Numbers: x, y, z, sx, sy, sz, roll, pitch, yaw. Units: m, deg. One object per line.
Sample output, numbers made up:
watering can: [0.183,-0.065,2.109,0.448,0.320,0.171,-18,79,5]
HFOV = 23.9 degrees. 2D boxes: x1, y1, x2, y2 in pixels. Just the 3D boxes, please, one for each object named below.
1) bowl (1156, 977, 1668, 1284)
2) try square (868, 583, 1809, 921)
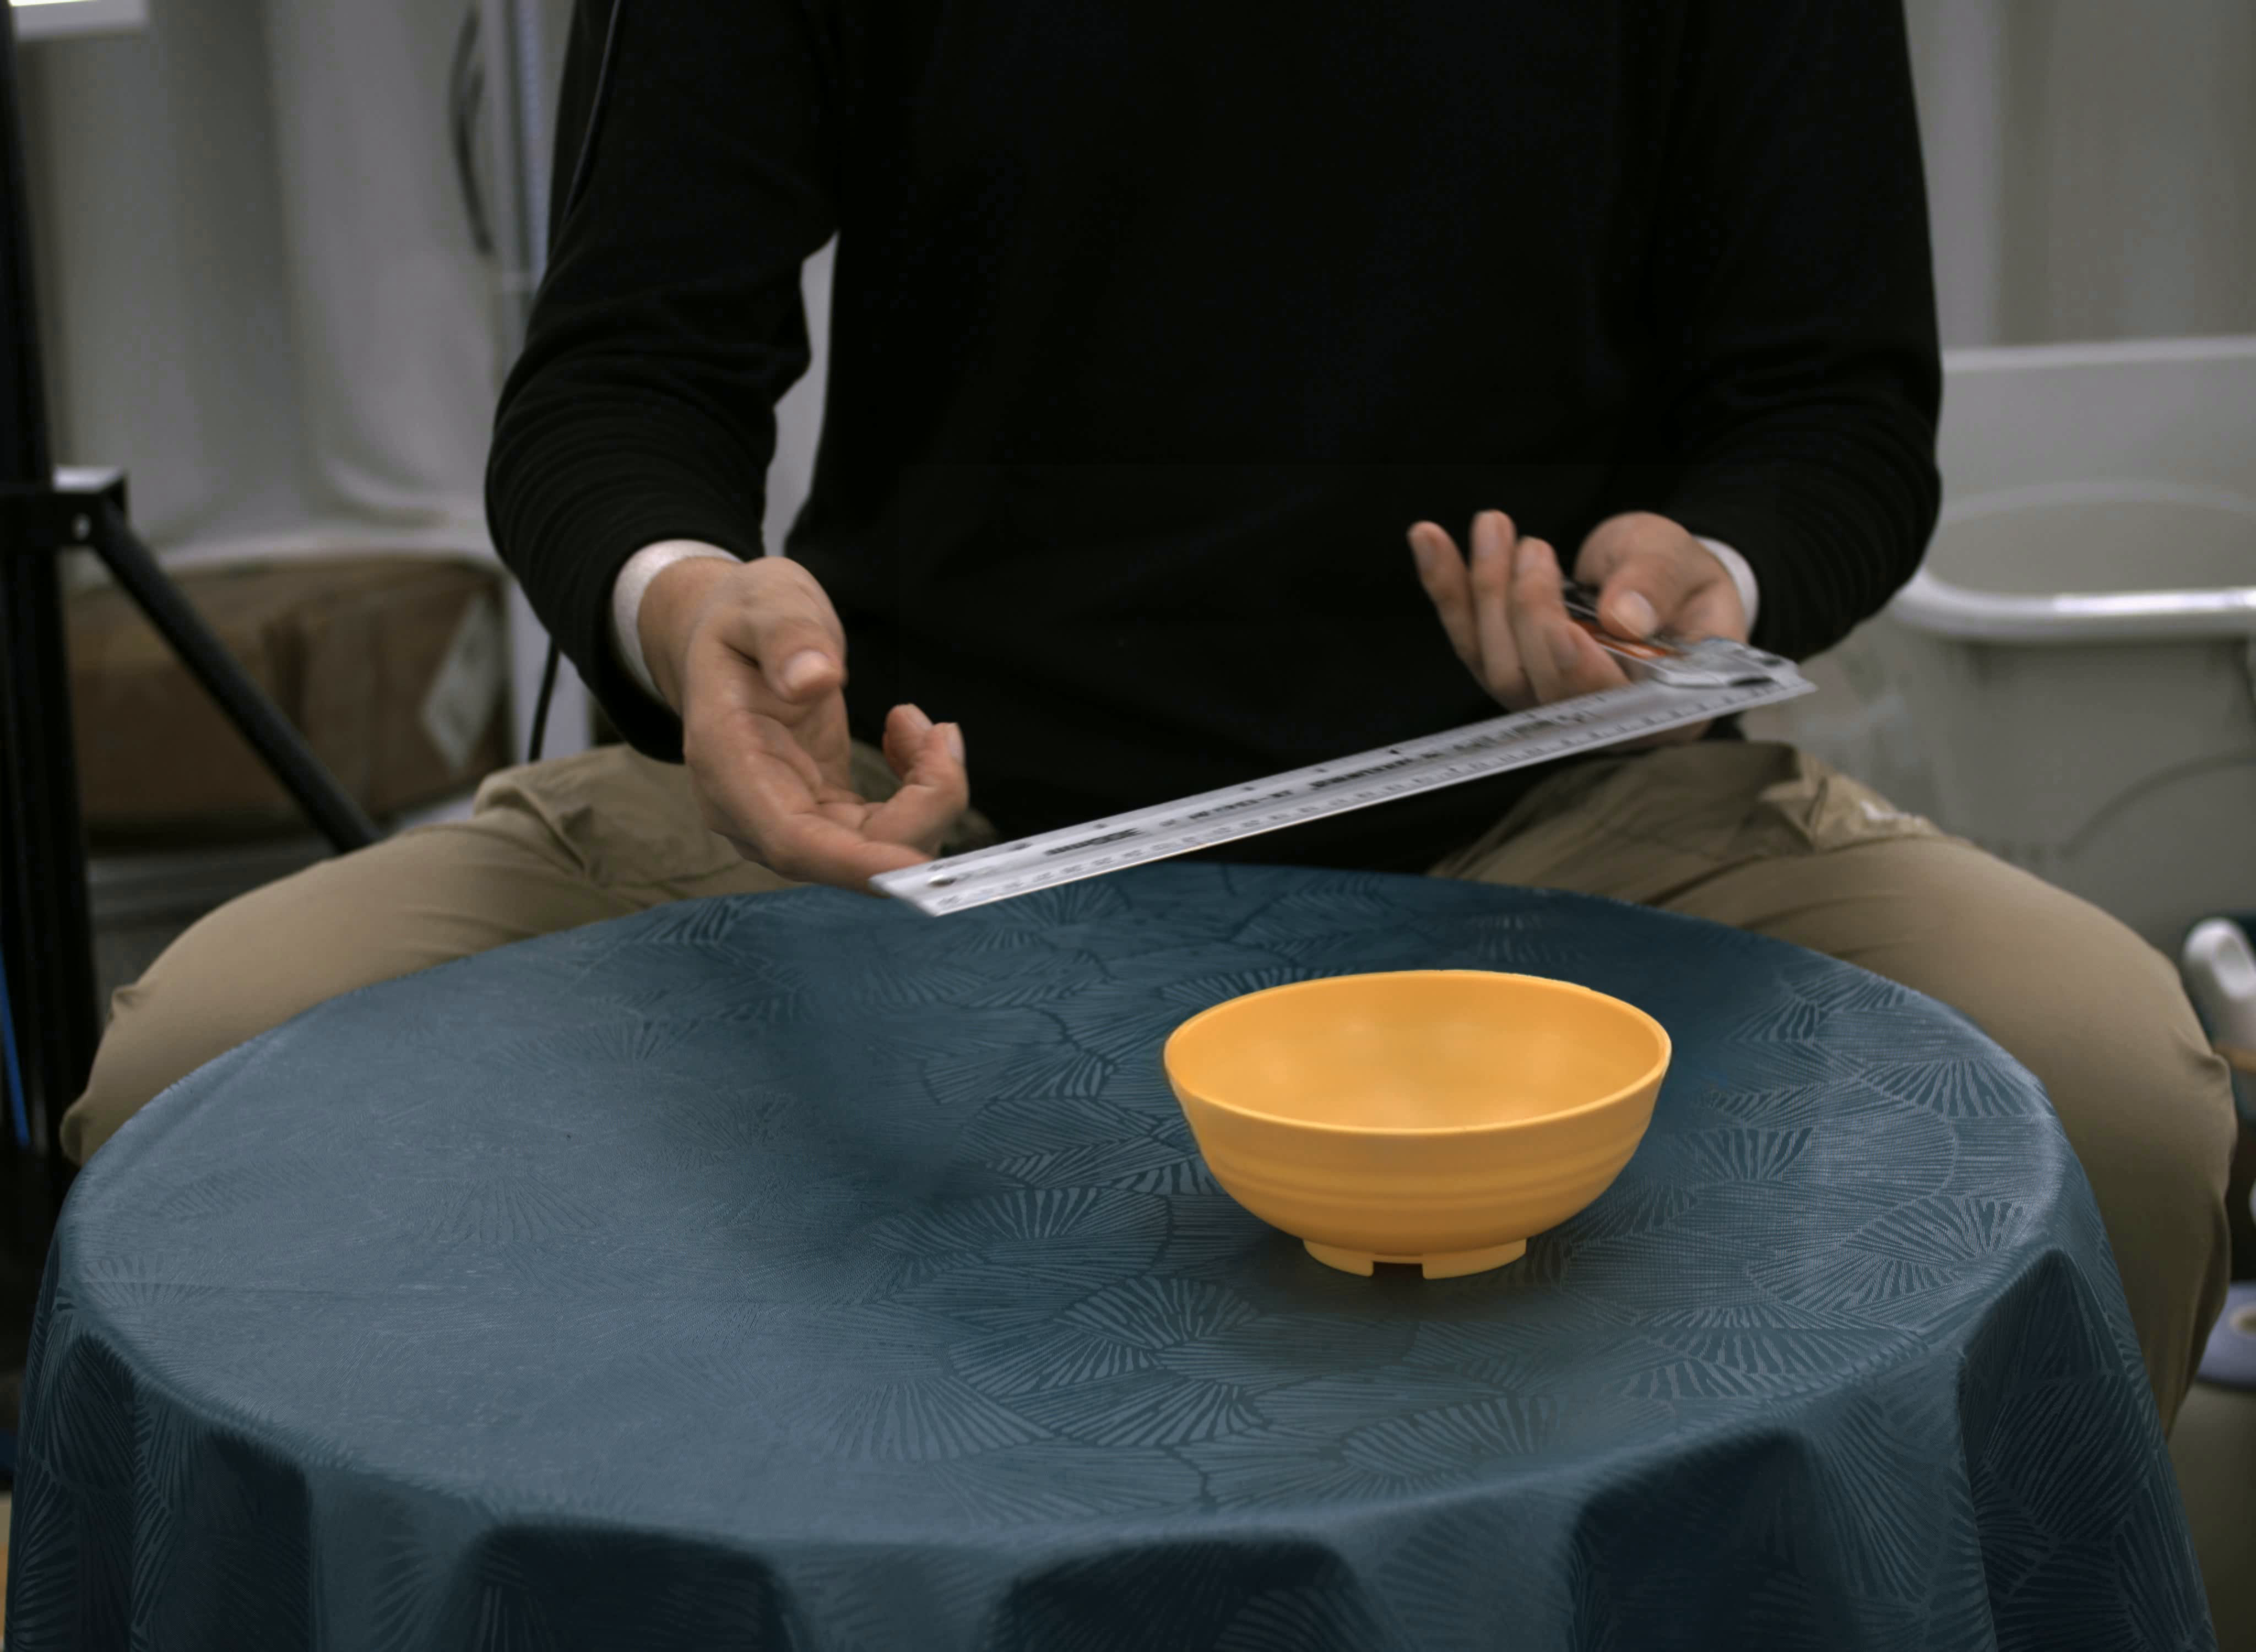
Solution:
bowl: [0.080,0.092,1.500,0.144,0.060,0.146,0,15,-1]
try square: [0.041,-0.024,1.625,0.307,0.016,0.155,-15,18,-25]
